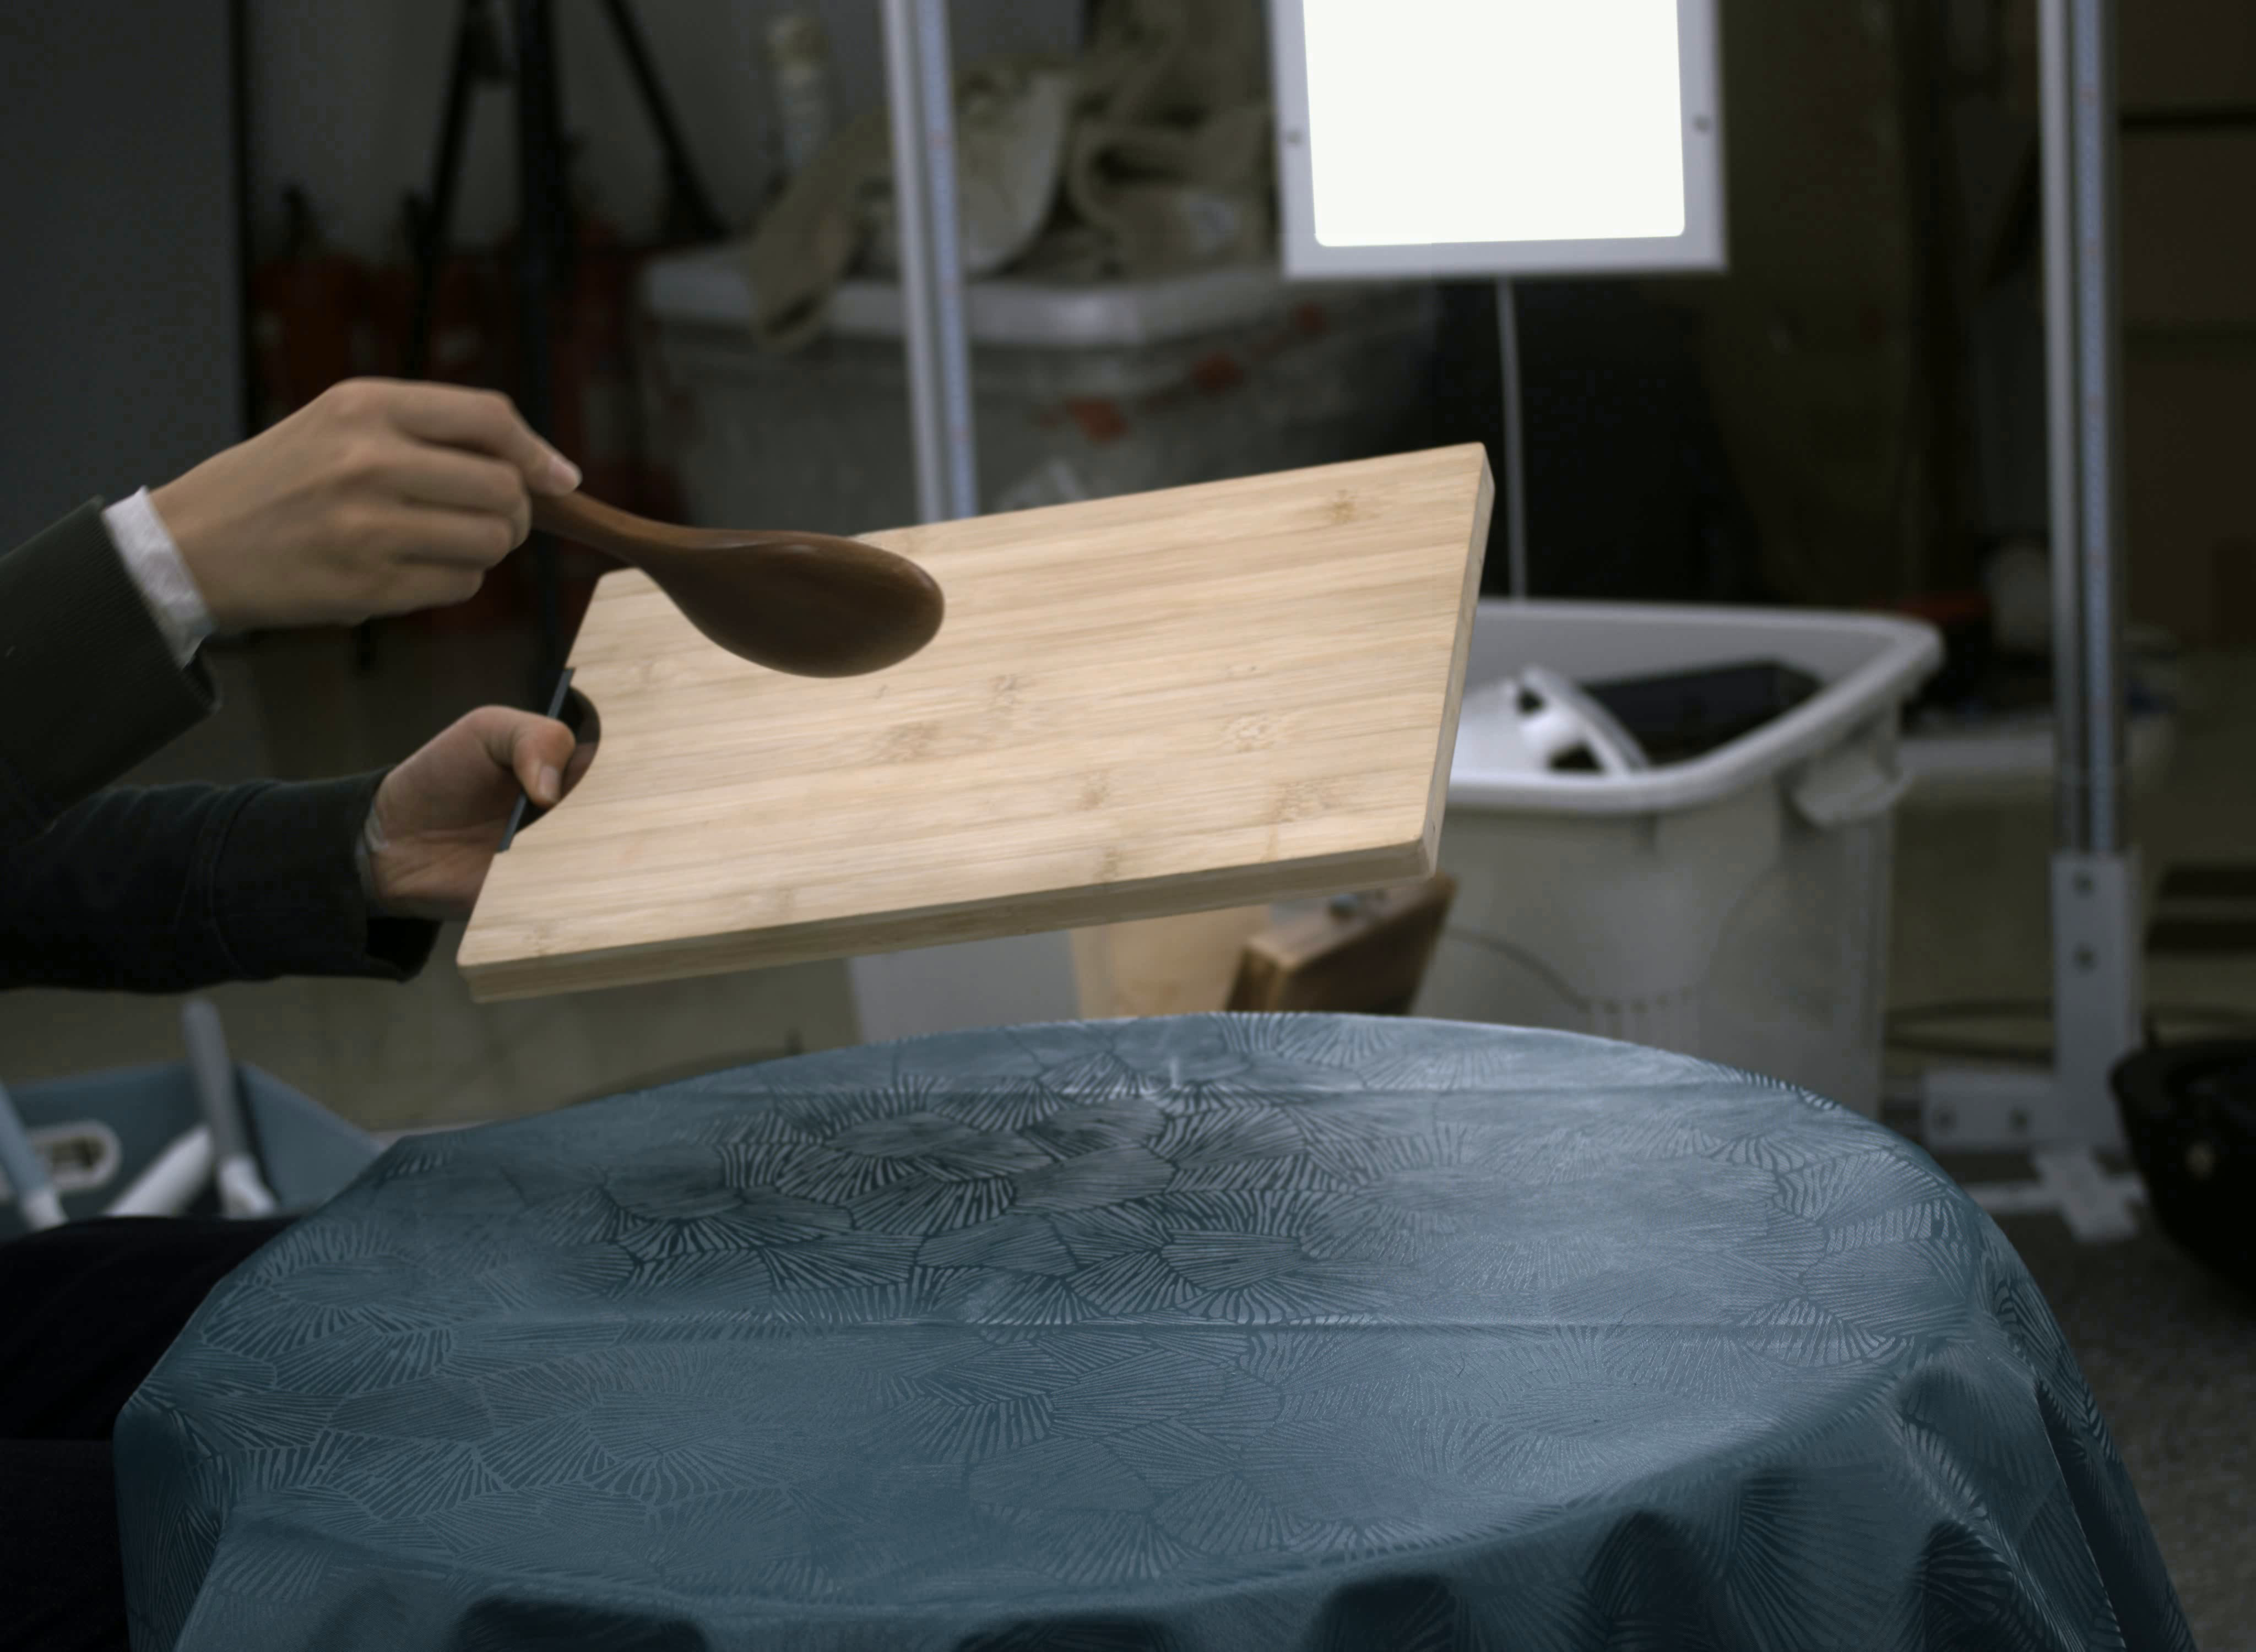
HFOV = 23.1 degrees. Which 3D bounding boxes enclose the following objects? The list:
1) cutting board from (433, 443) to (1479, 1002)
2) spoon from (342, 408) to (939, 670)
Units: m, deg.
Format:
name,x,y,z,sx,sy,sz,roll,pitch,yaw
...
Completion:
name,x,y,z,sx,sy,sz,roll,pitch,yaw
cutting board,-0.054,-0.037,1.921,0.352,0.023,0.248,-9,34,16
spoon,-0.151,-0.087,1.723,0.211,0.017,0.077,21,-31,-34
